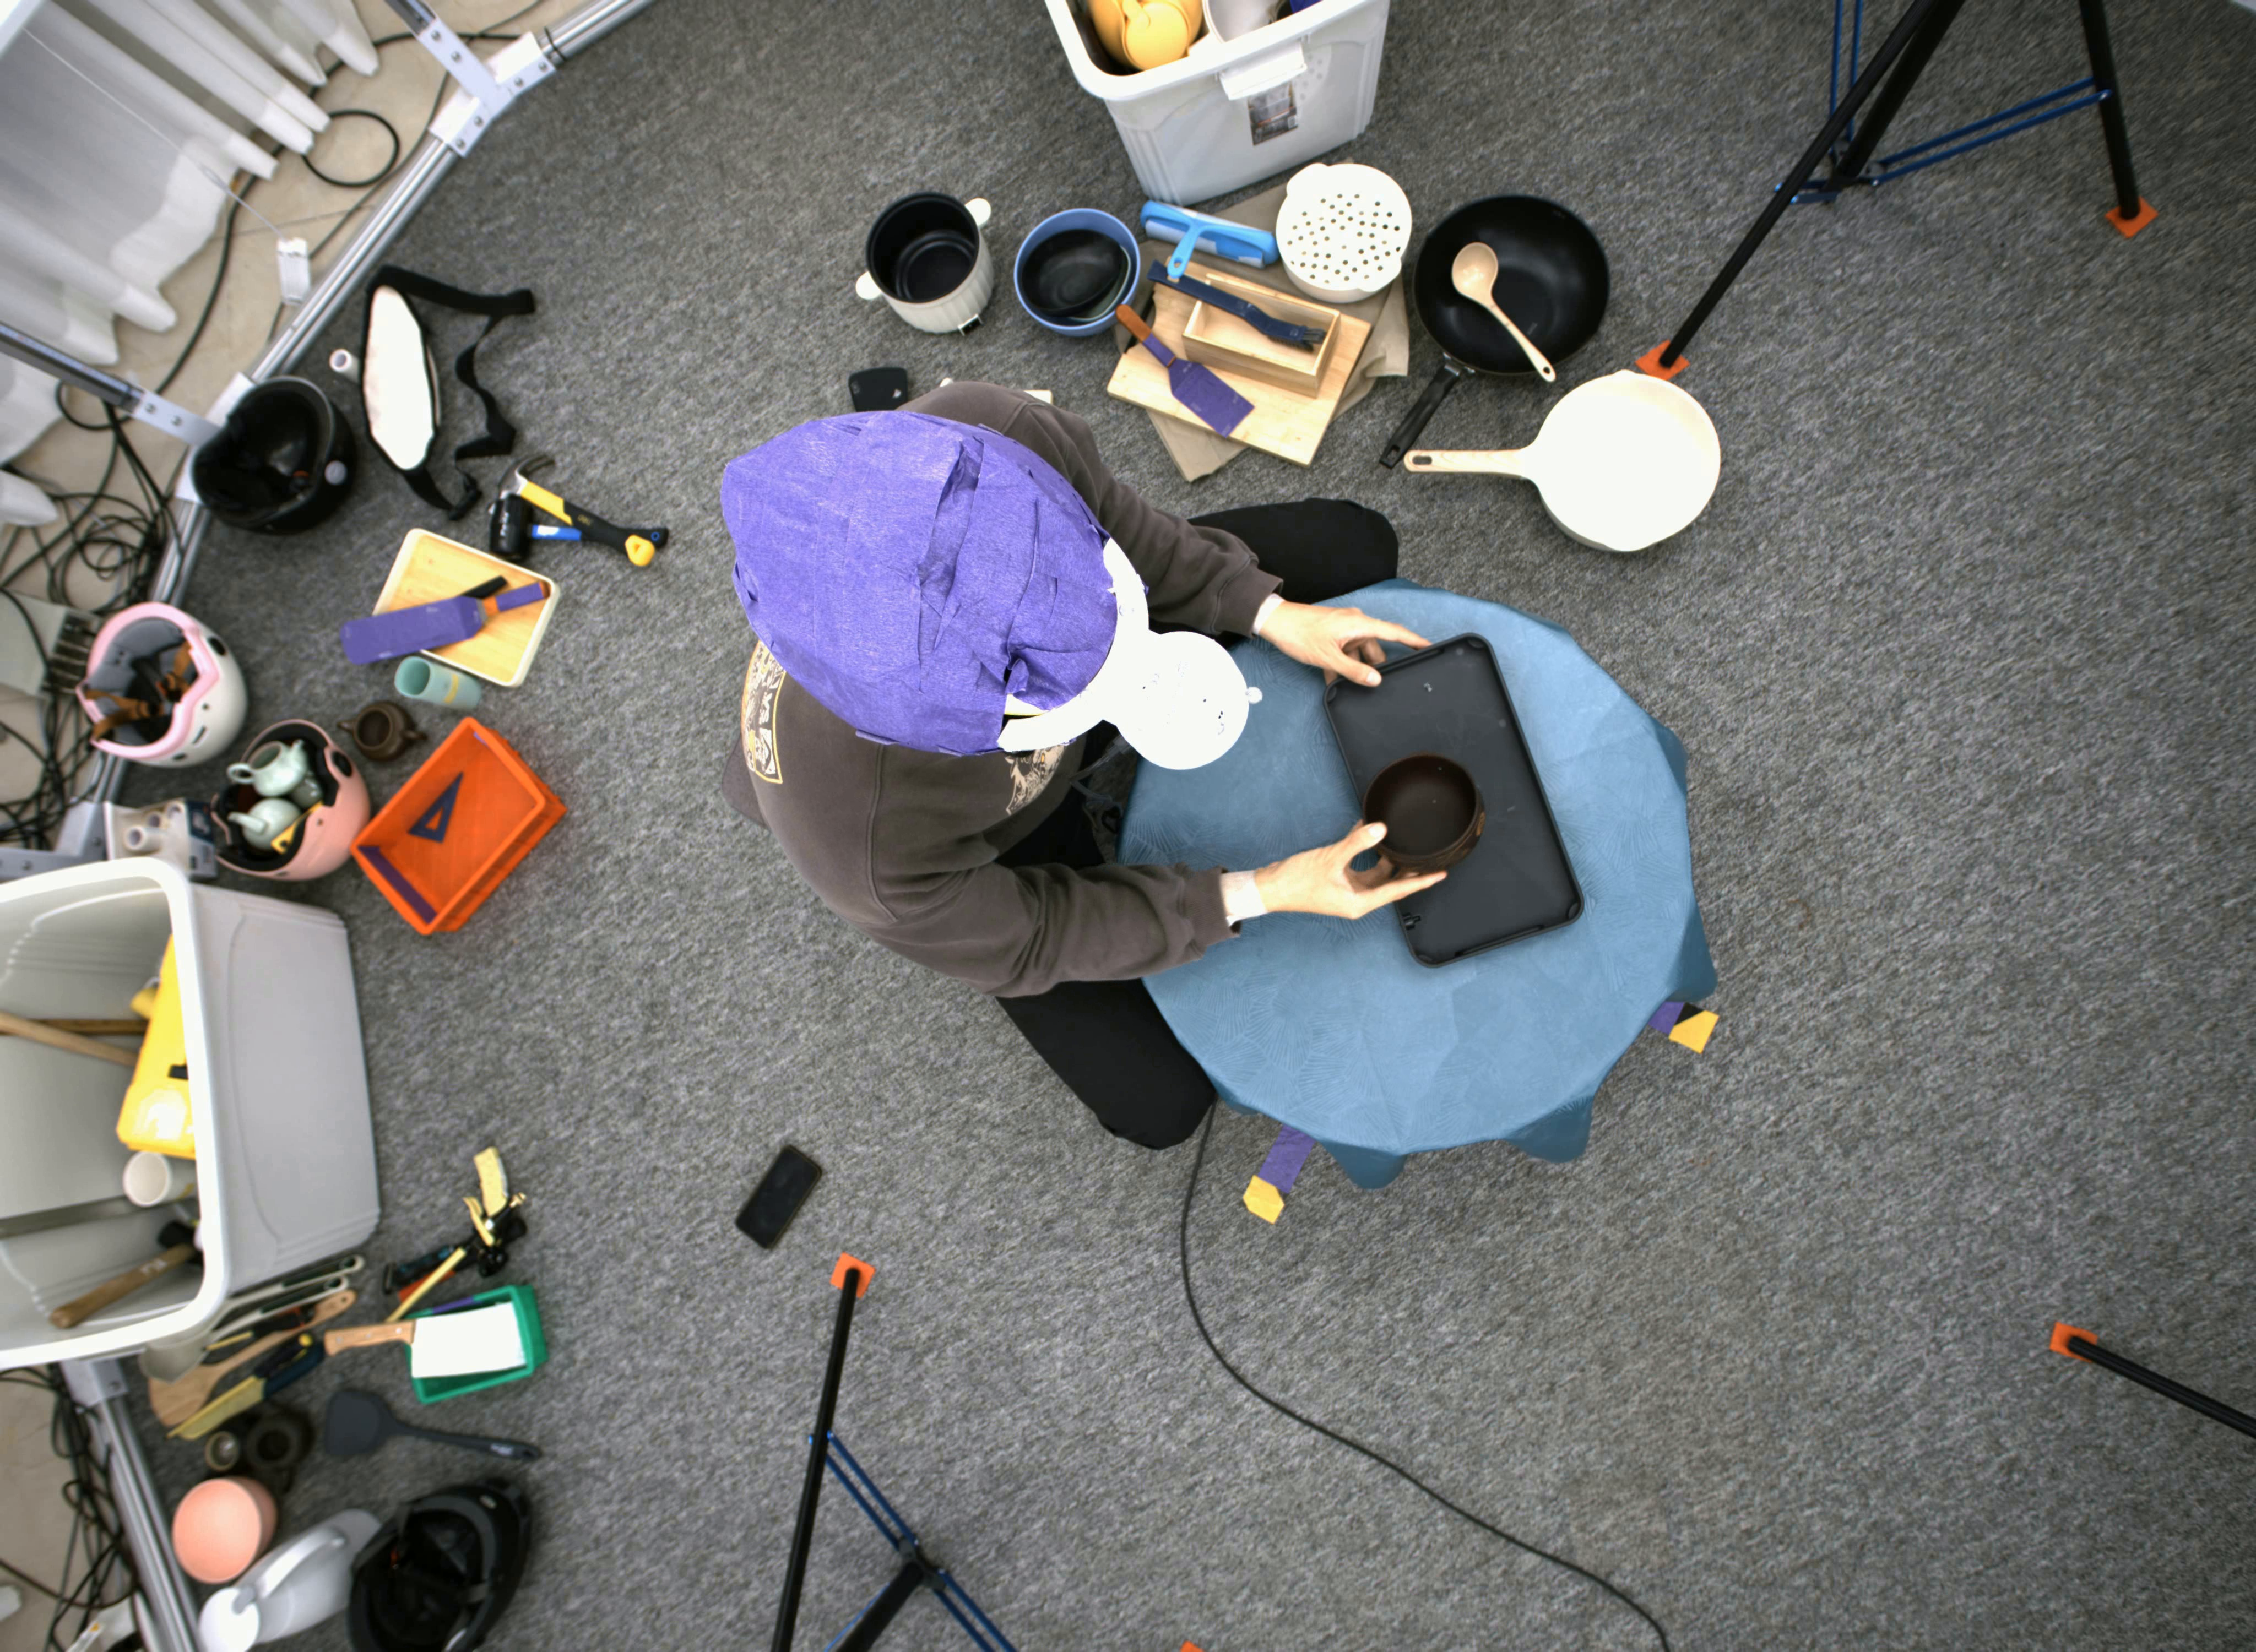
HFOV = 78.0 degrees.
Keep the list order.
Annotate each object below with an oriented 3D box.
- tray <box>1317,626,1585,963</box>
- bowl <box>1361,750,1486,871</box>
[{"bbox_3d":[0.333,-0.034,1.426,0.185,0.037,0.317,-21,87,10],"label":"tray"},{"bbox_3d":[0.293,-0.010,1.349,0.119,0.071,0.115,-12,61,22],"label":"bowl"}]
